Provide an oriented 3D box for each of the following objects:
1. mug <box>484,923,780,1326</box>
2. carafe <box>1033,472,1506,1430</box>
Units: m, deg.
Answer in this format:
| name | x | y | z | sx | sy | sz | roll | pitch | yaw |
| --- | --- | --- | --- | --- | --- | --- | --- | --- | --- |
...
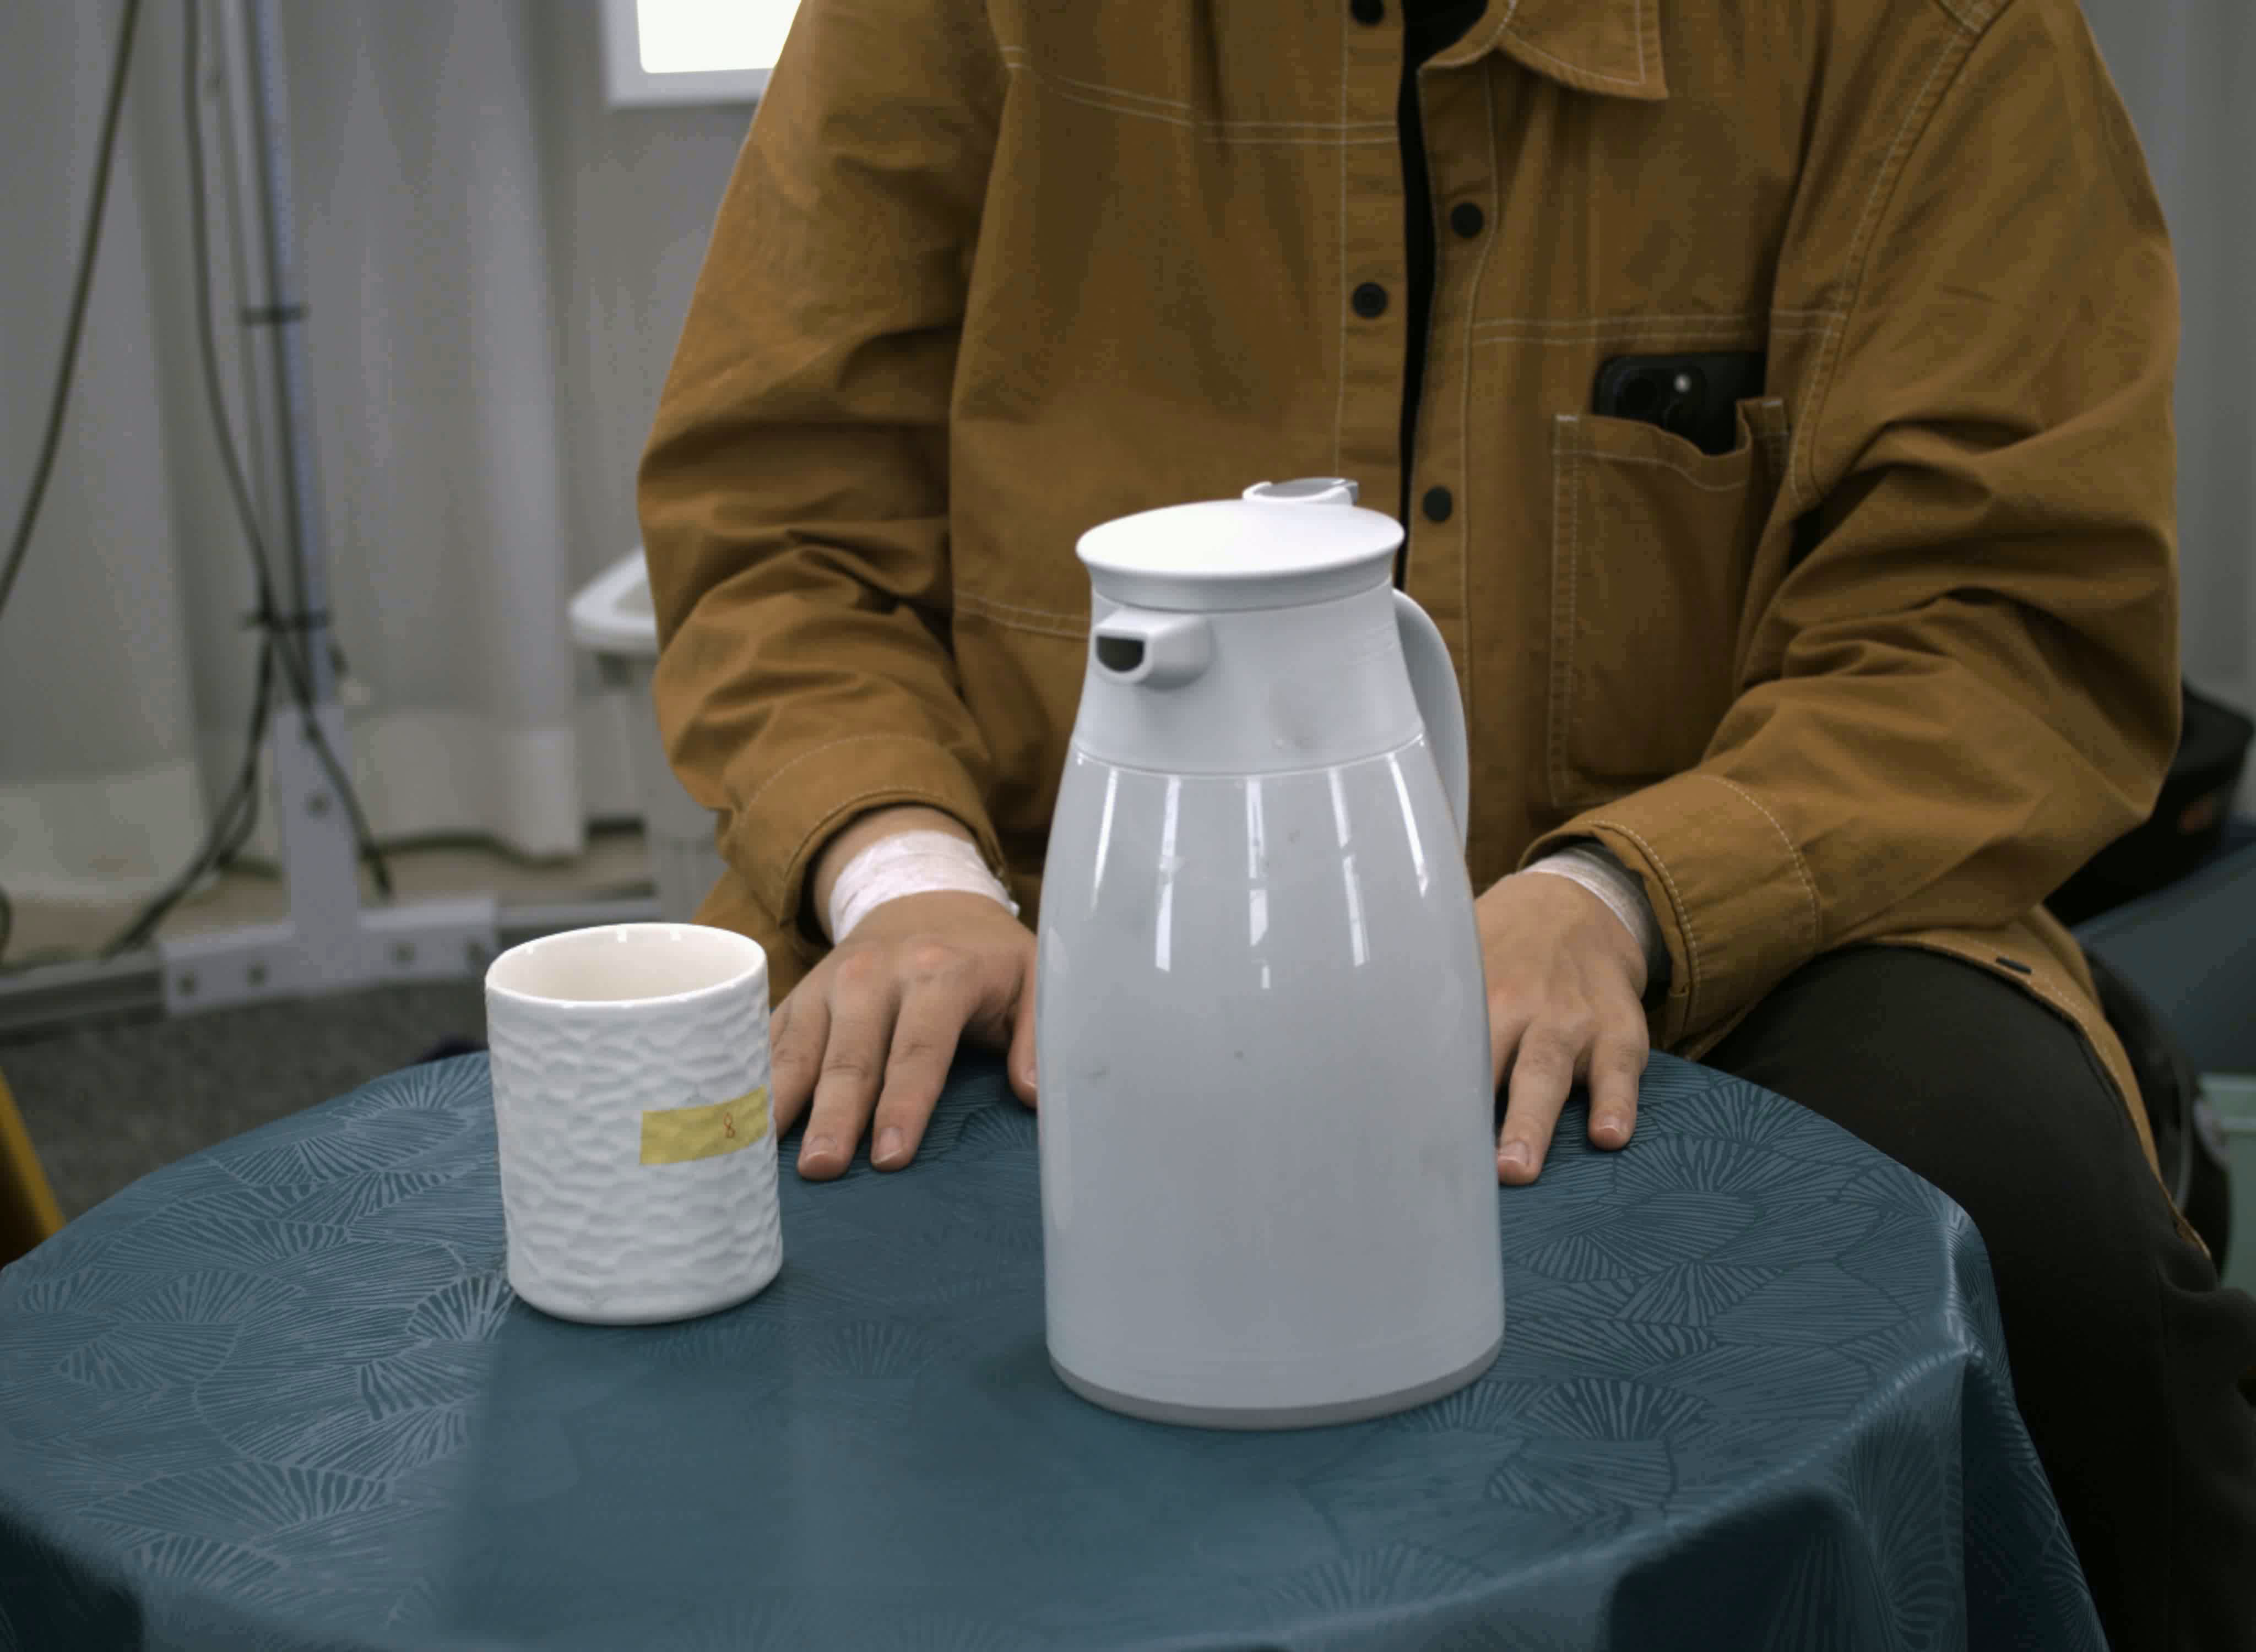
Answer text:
| name | x | y | z | sx | sy | sz | roll | pitch | yaw |
| --- | --- | --- | --- | --- | --- | --- | --- | --- | --- |
| mug | -0.153 | 0.086 | 1.656 | 0.084 | 0.101 | 0.119 | -7 | 14 | -19 |
| carafe | 0.045 | 0.026 | 1.558 | 0.133 | 0.248 | 0.168 | 5 | 15 | 32 |
